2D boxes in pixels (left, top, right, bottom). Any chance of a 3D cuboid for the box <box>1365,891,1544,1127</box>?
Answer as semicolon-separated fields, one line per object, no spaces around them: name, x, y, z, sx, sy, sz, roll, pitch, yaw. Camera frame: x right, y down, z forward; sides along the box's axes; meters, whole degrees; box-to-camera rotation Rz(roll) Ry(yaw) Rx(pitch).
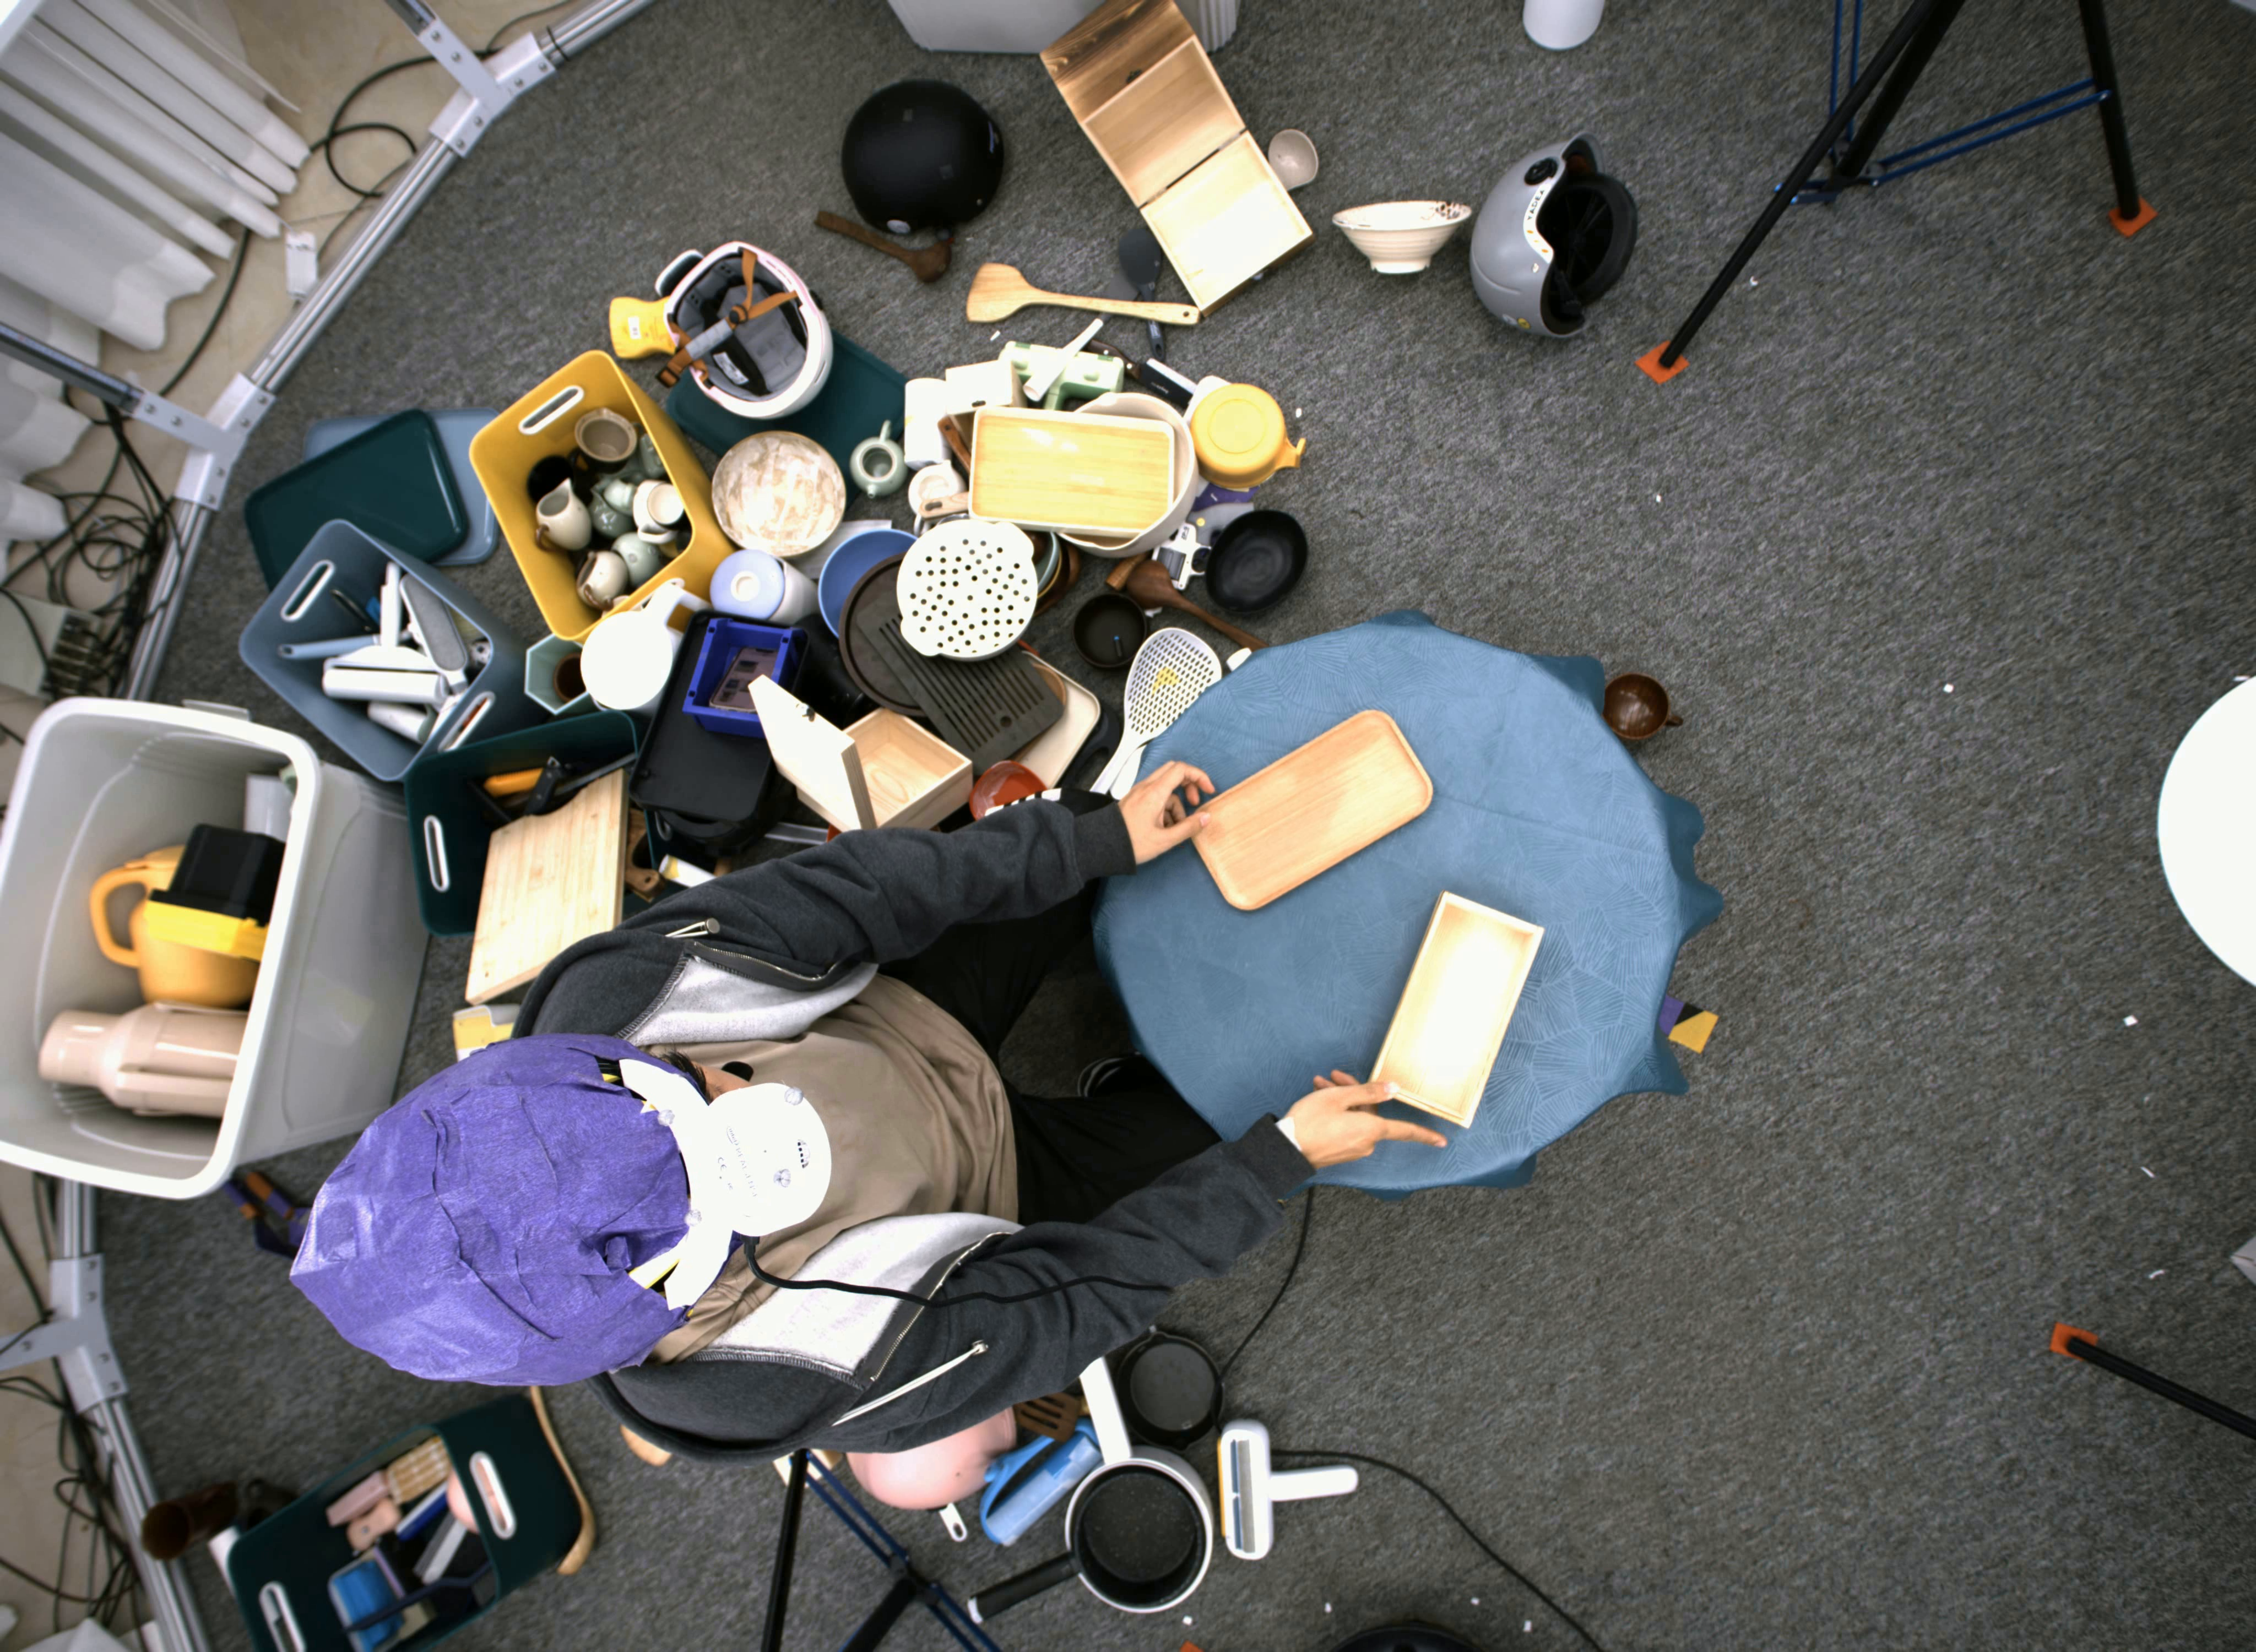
box;0.329;0.183;1.402;0.107;0.080;0.211;21;91;11

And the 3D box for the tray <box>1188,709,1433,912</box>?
tray;0.193;-0.017;1.469;0.252;0.023;0.129;-30;79;8
